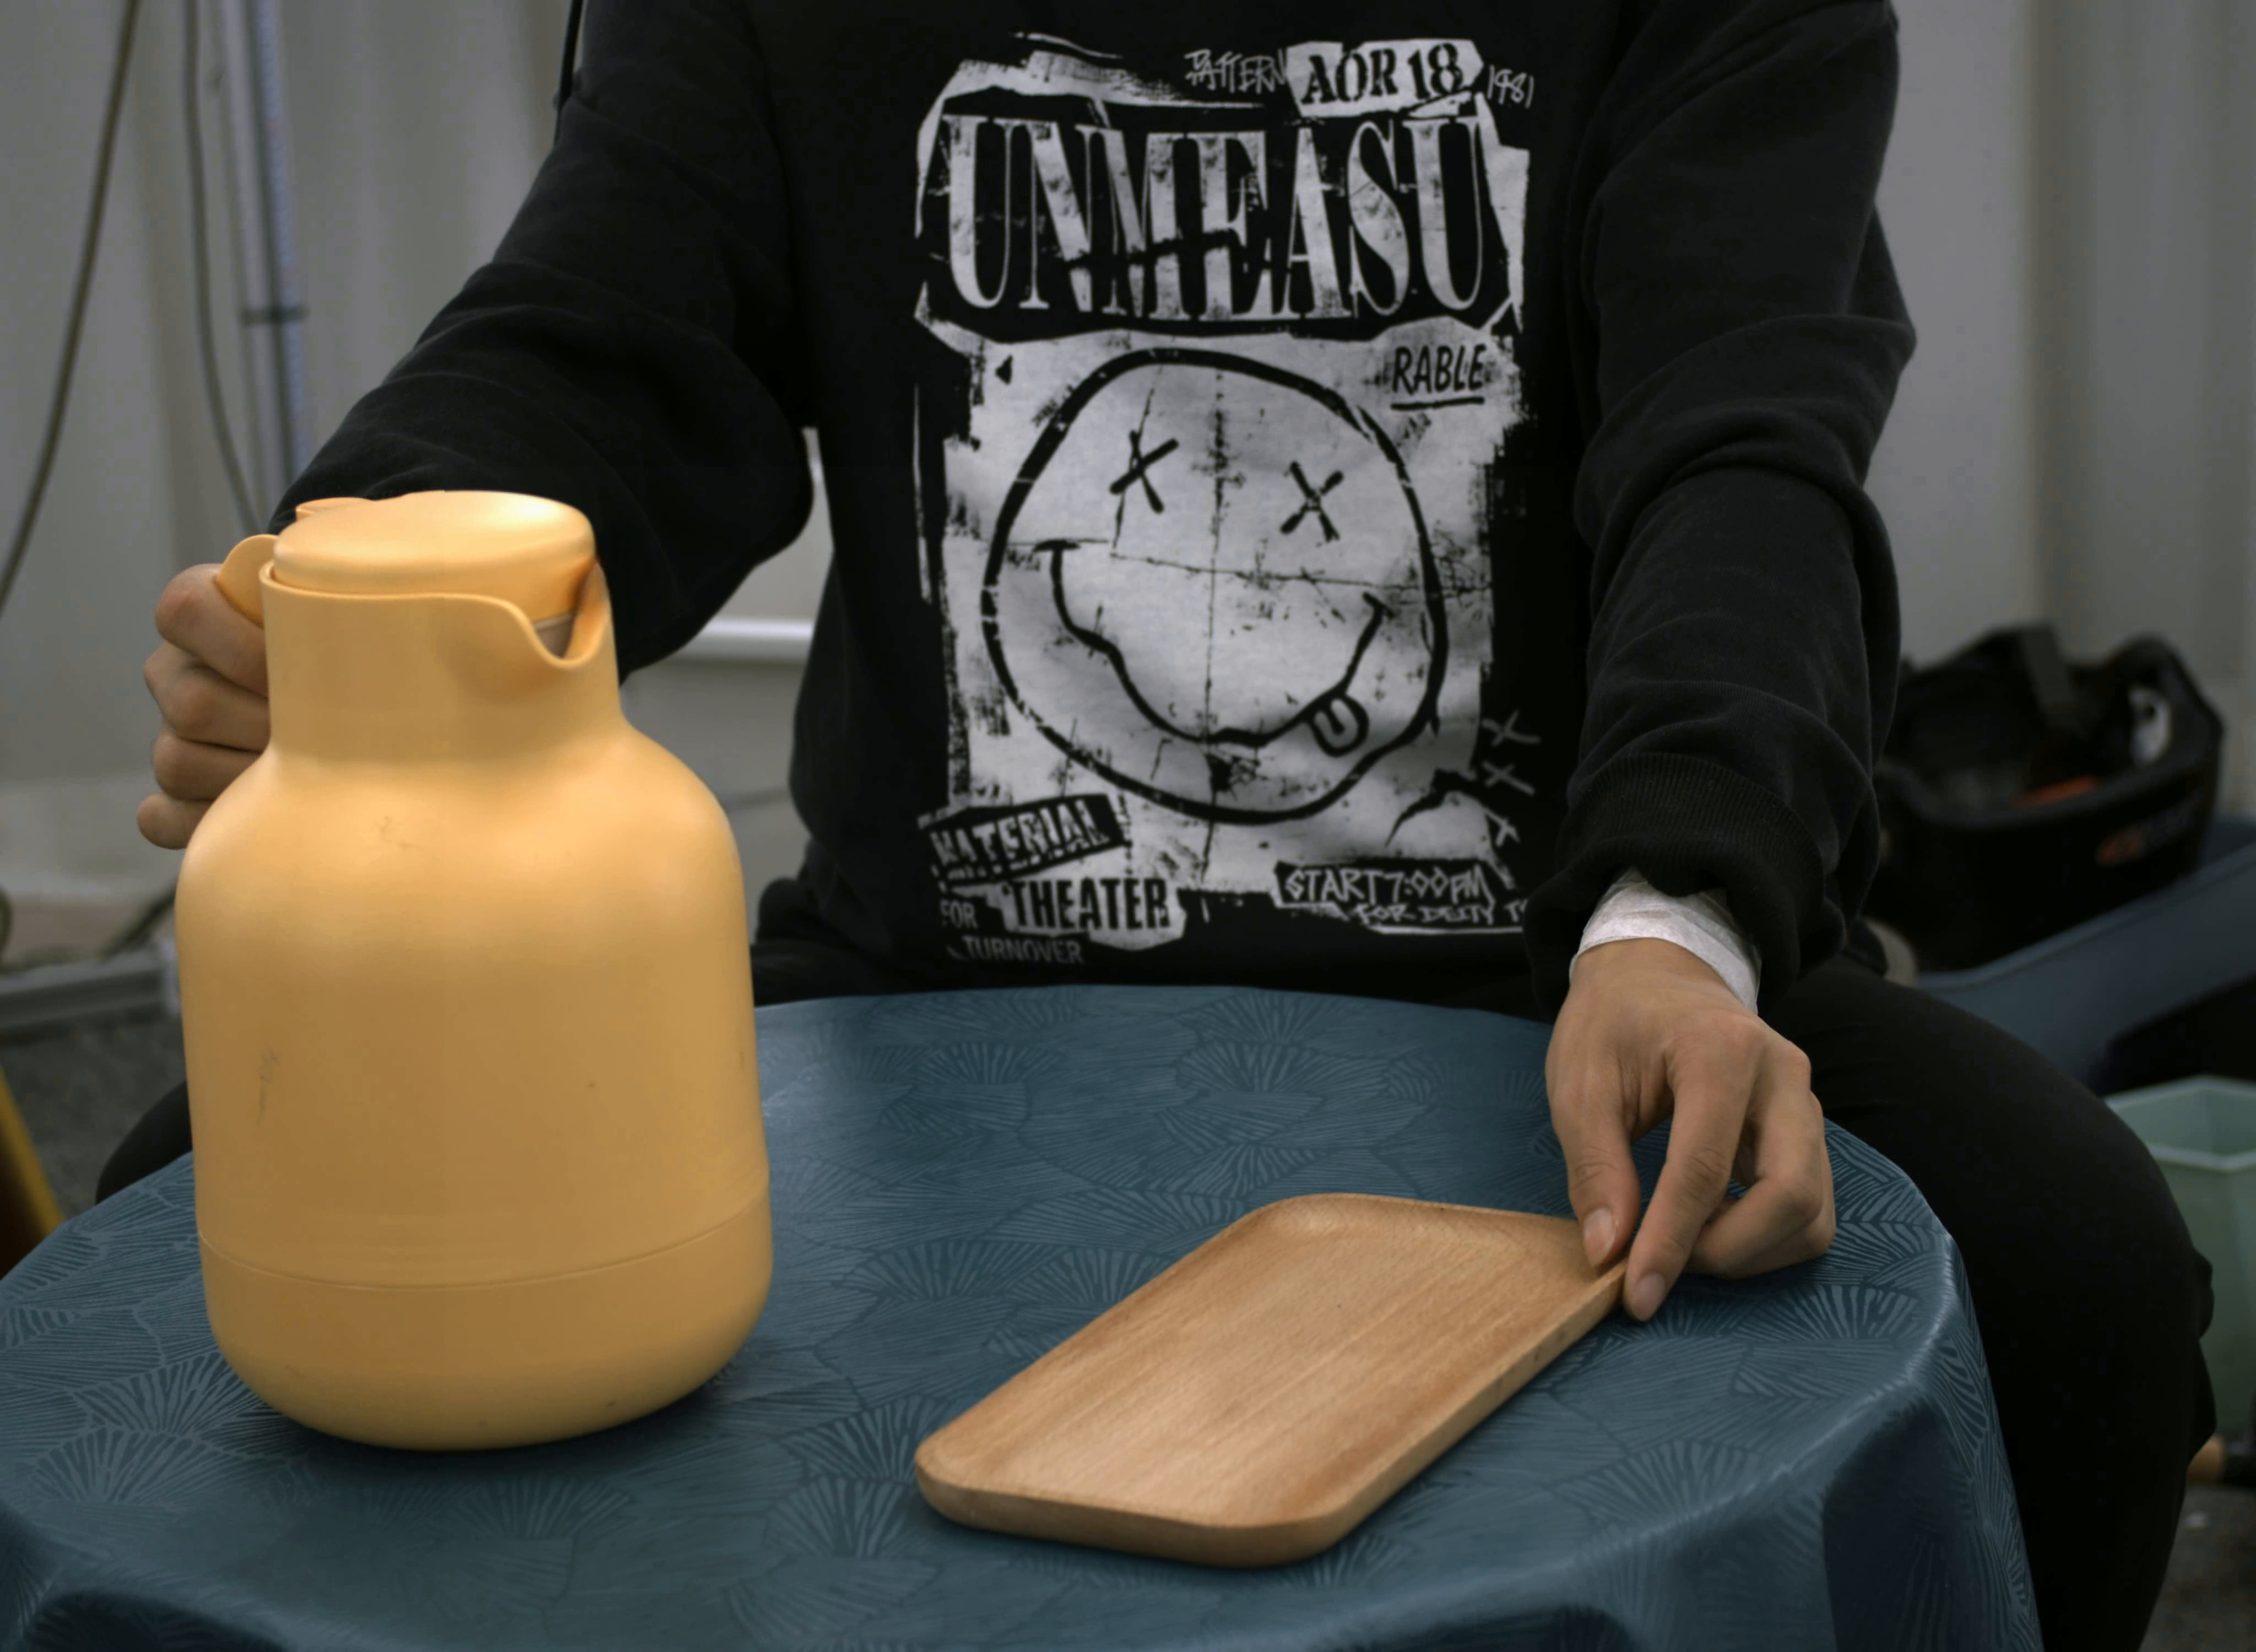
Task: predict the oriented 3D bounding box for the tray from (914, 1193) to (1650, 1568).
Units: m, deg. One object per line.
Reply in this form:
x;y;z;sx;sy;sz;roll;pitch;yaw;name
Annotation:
0.047;0.152;1.531;0.131;0.023;0.251;8;18;28;tray

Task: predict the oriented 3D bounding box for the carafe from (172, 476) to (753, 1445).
-0.198;0.029;1.563;0.163;0.259;0.204;-8;17;-33;carafe
